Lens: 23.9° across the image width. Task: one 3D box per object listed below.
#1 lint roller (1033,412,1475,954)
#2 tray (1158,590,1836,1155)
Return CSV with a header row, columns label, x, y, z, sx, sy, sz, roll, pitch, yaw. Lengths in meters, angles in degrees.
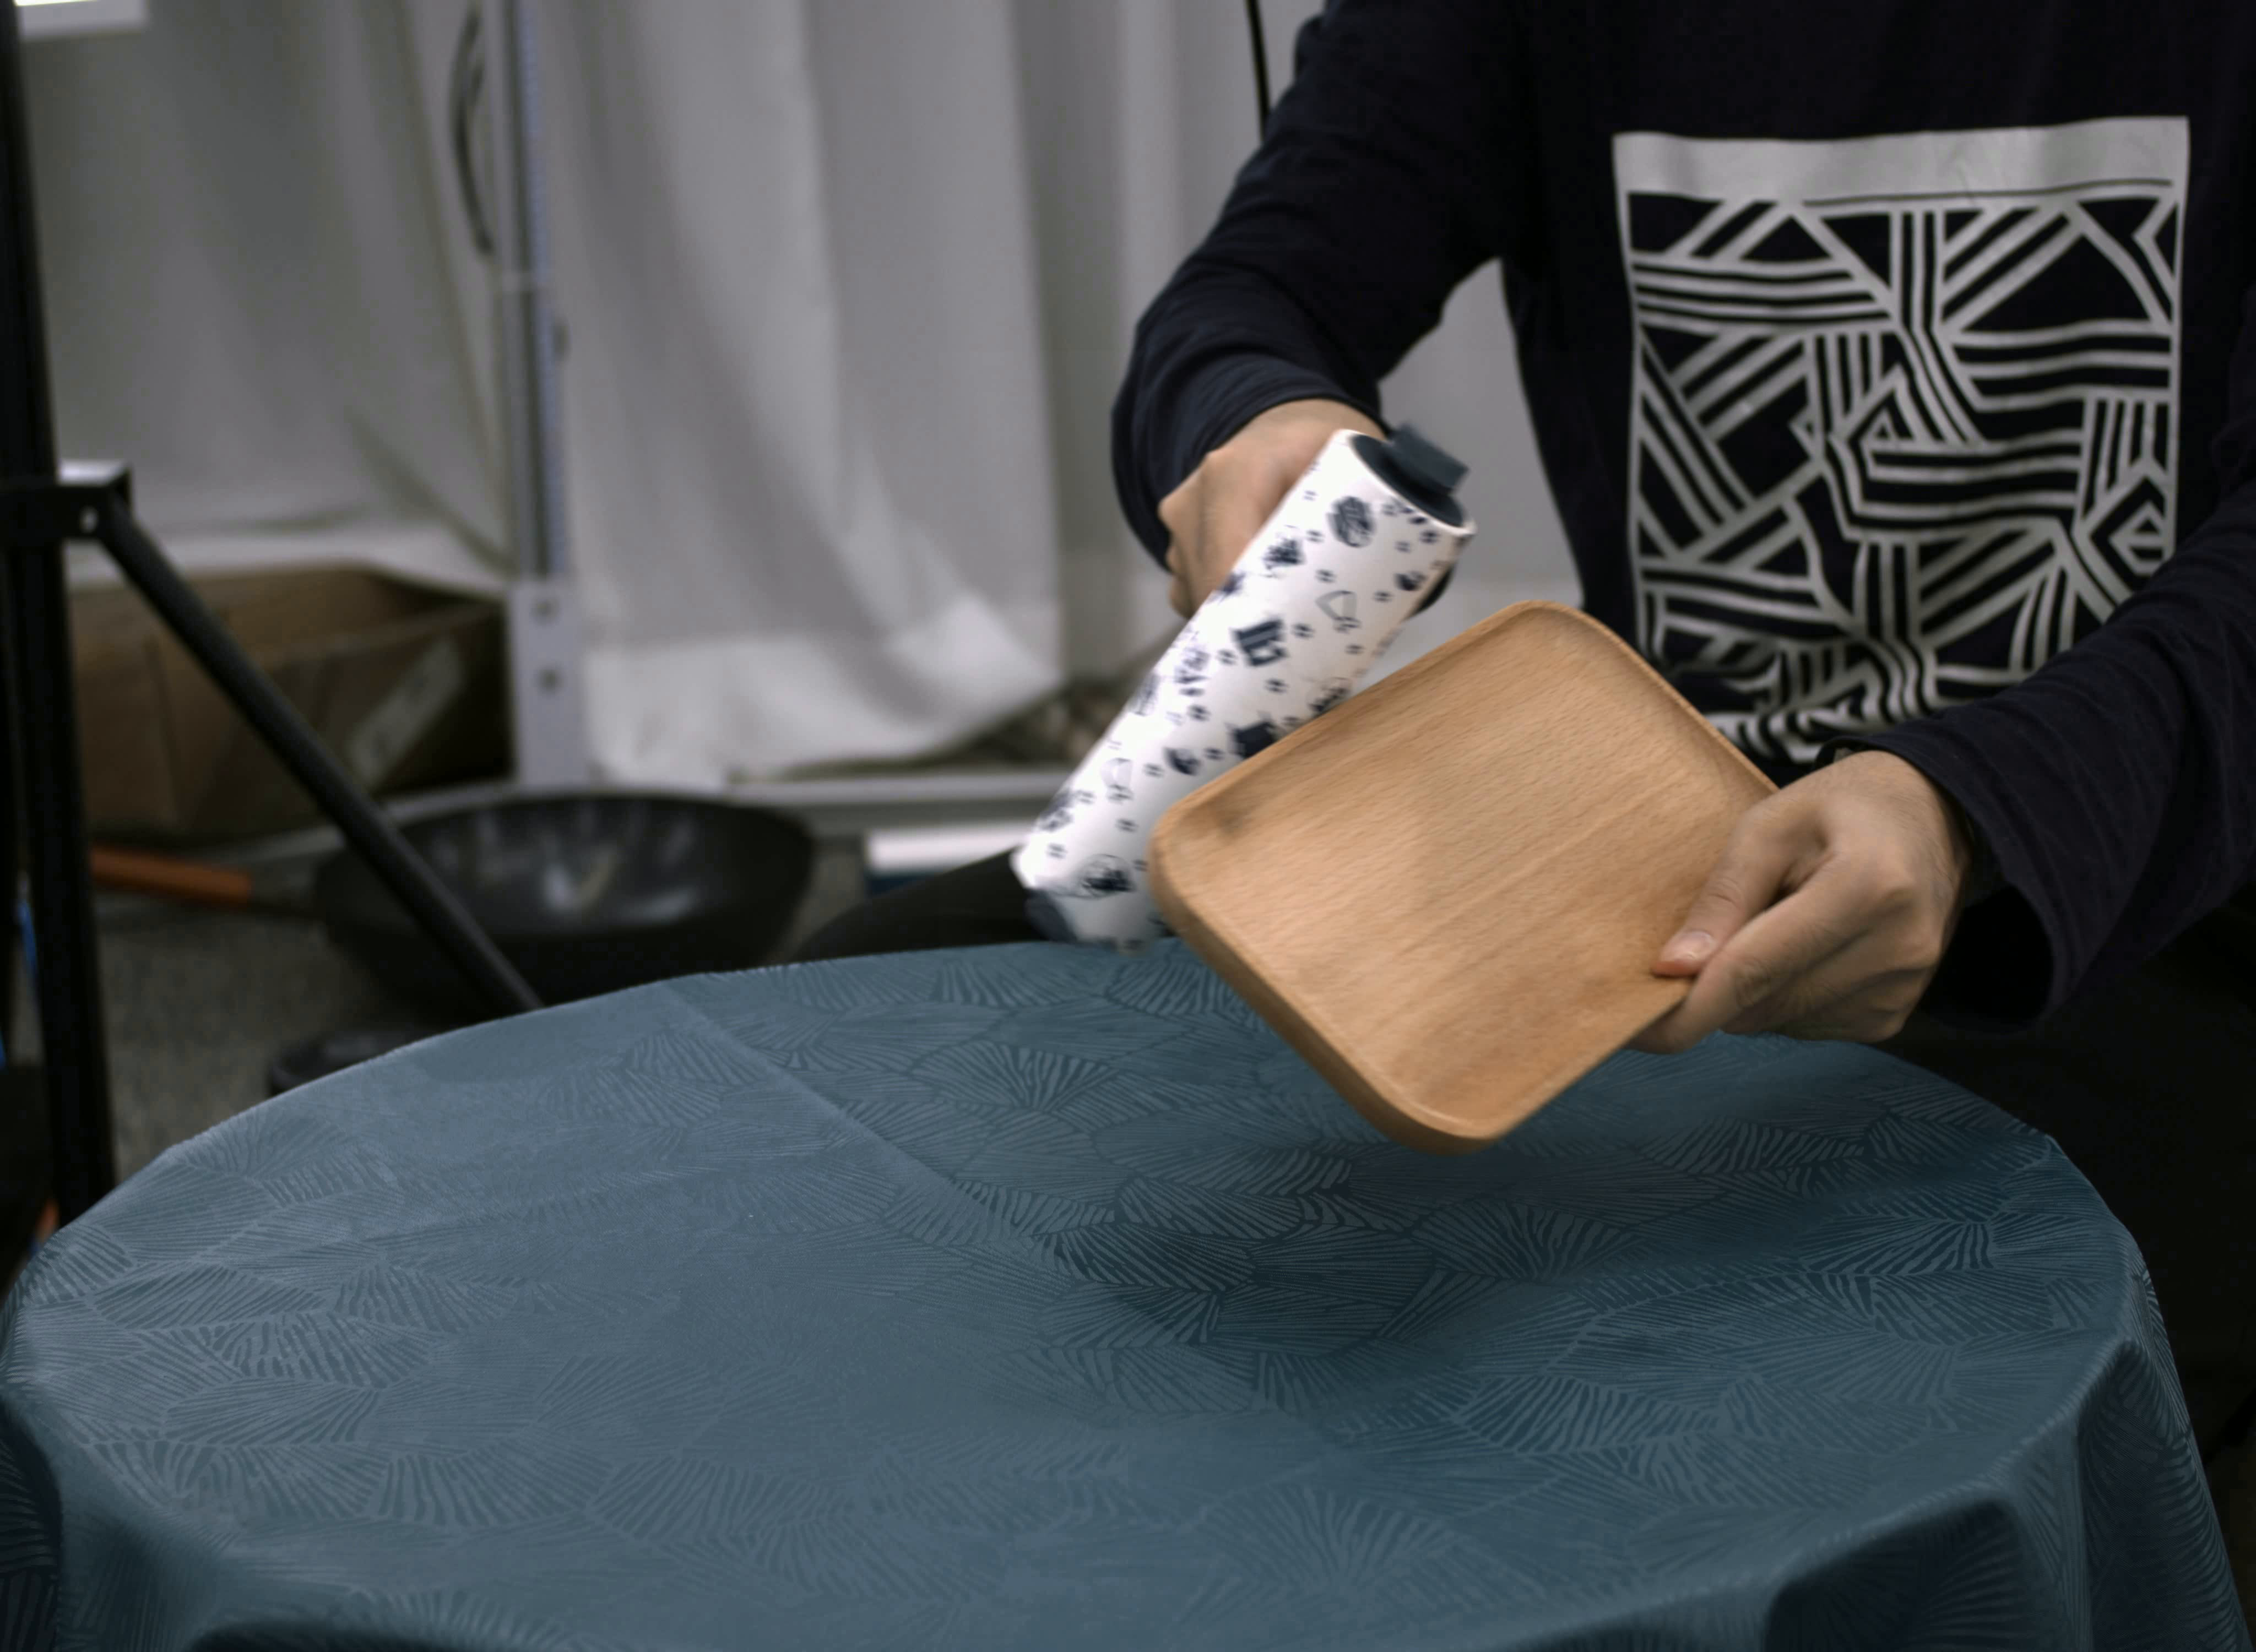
label,x,y,z,sx,sy,sz,roll,pitch,yaw
lint roller,0.051,-0.061,1.616,0.050,0.177,0.246,36,17,-1
tray,0.107,0.010,1.494,0.132,0.023,0.246,48,36,11
